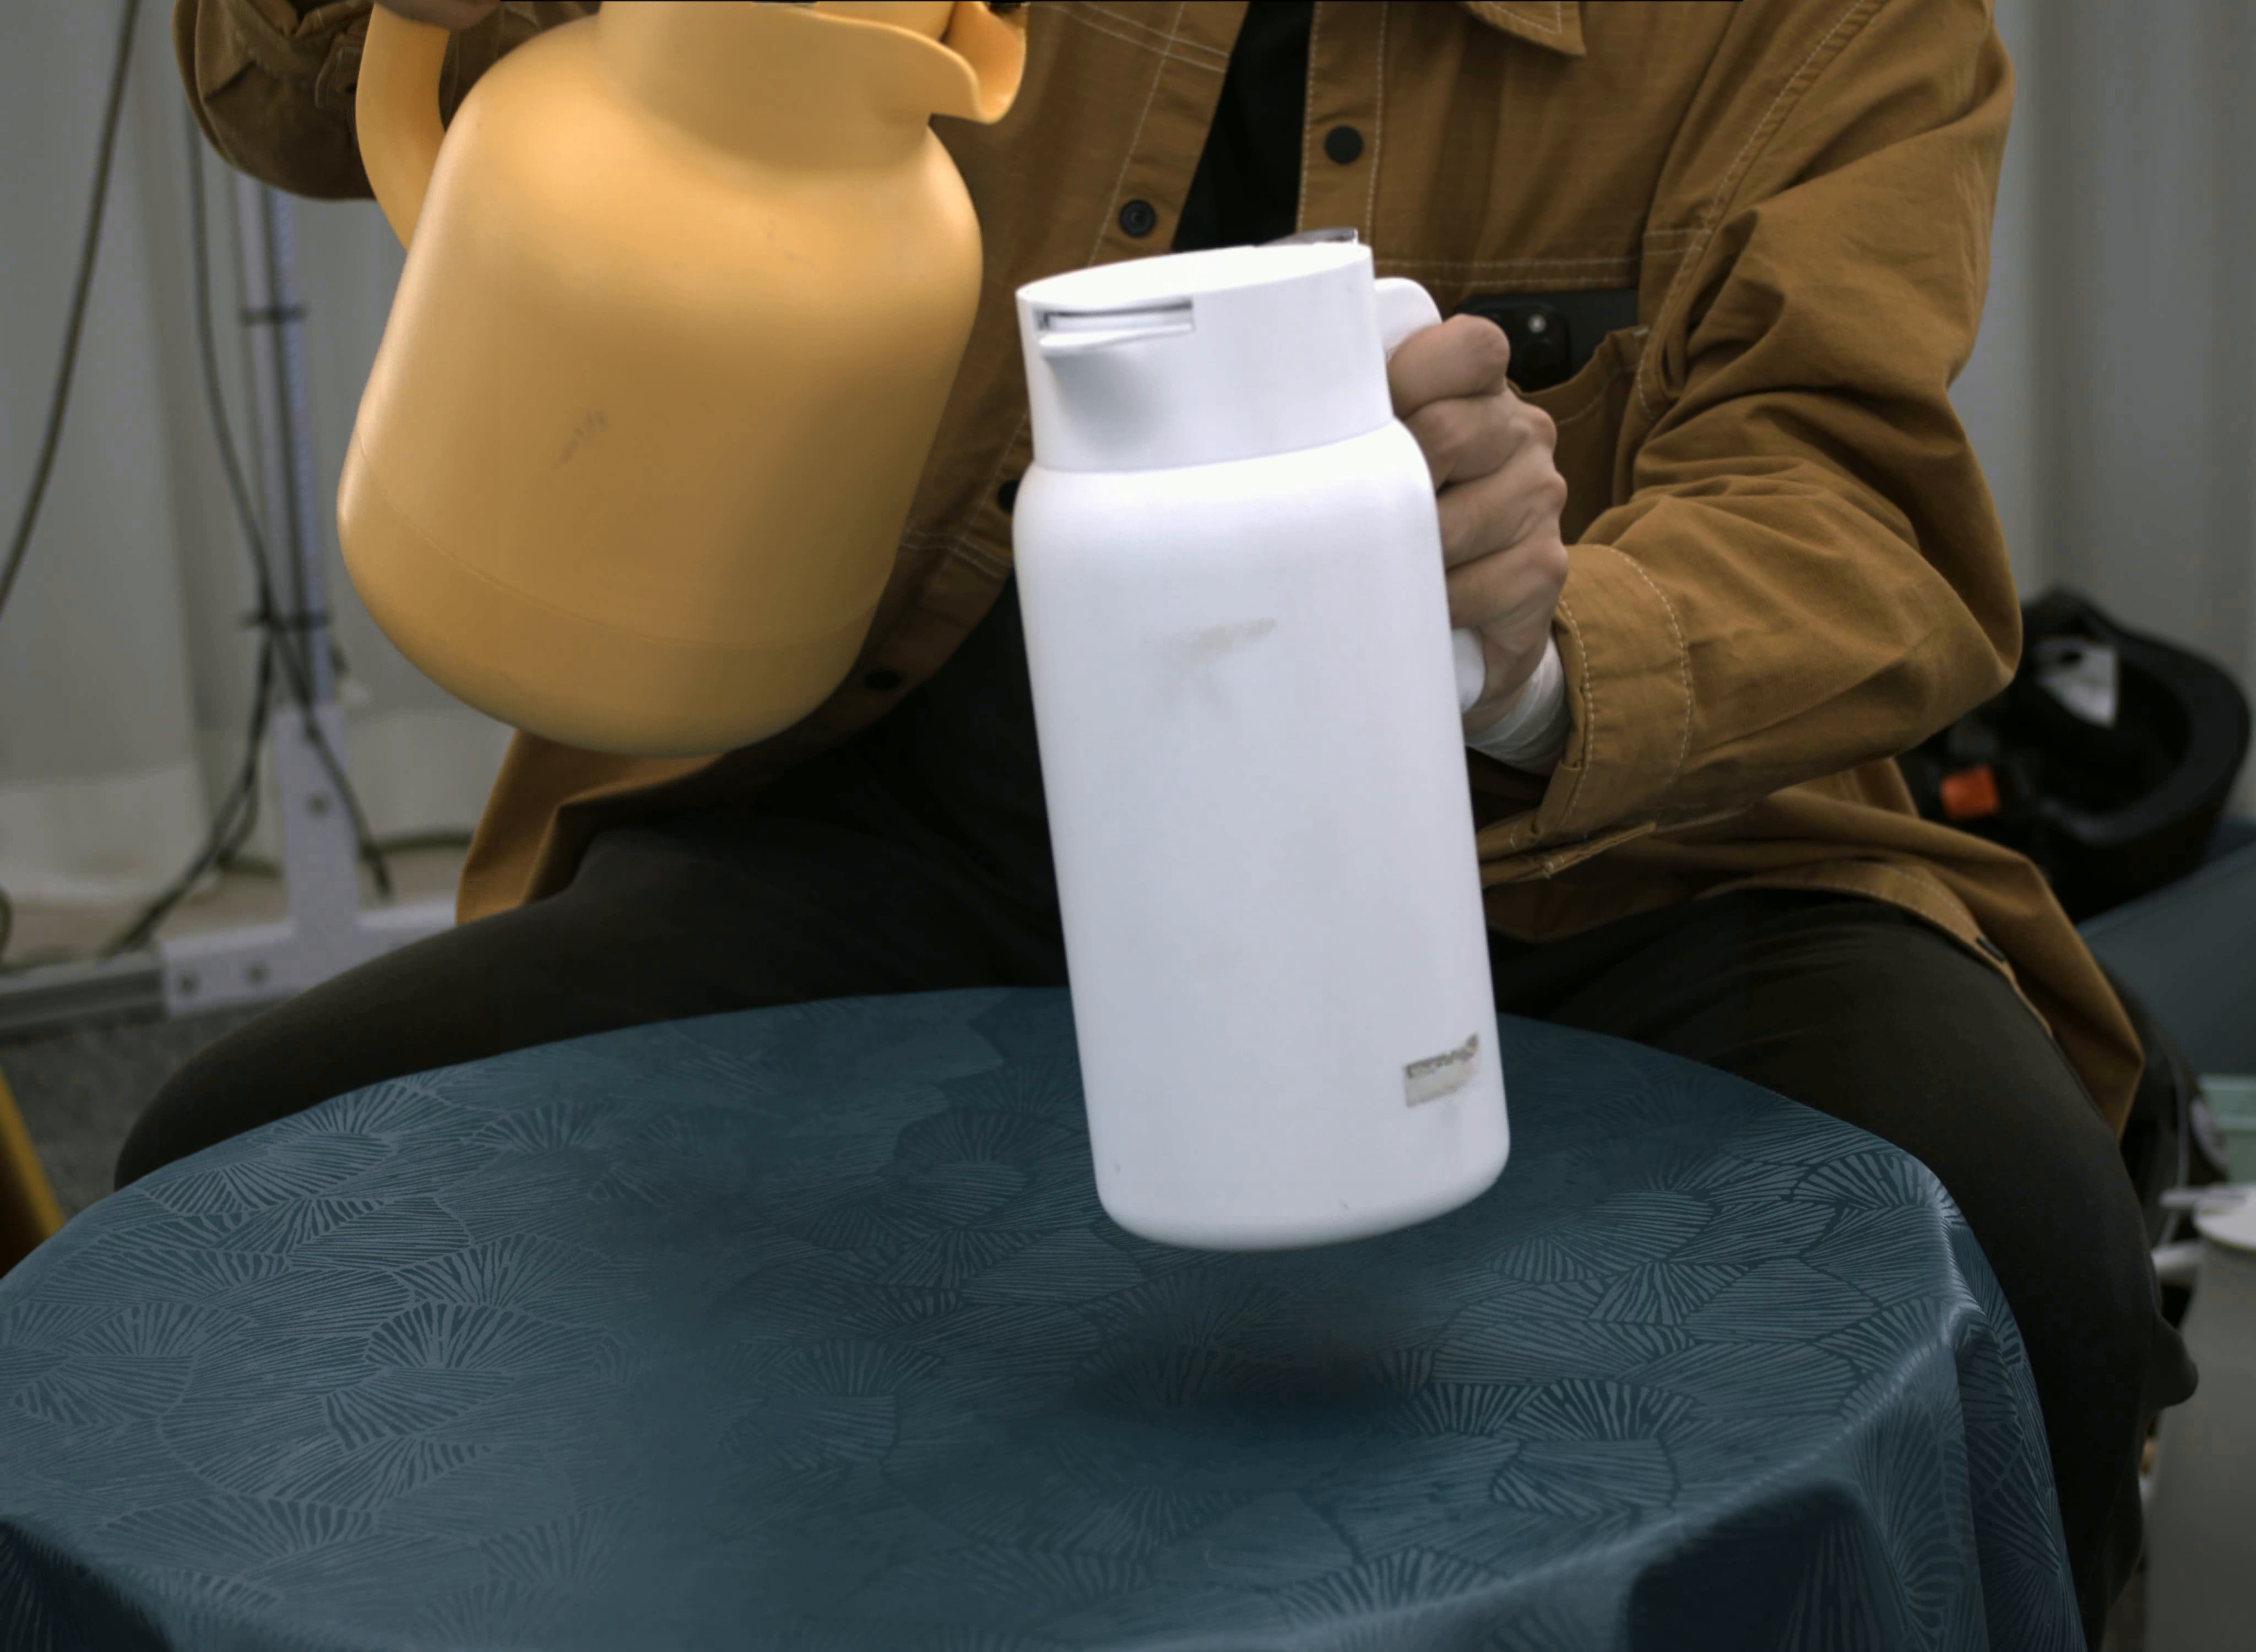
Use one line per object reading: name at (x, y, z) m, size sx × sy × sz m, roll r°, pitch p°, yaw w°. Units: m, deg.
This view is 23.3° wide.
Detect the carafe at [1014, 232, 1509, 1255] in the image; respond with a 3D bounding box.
carafe at (0.043, -0.027, 1.526) m, size 0.124 × 0.268 × 0.173 m, roll -2°, pitch 11°, yaw 35°

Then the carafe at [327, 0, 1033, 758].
carafe at (-0.139, -0.169, 1.583) m, size 0.204 × 0.258 × 0.163 m, roll 36°, pitch 31°, yaw 20°
